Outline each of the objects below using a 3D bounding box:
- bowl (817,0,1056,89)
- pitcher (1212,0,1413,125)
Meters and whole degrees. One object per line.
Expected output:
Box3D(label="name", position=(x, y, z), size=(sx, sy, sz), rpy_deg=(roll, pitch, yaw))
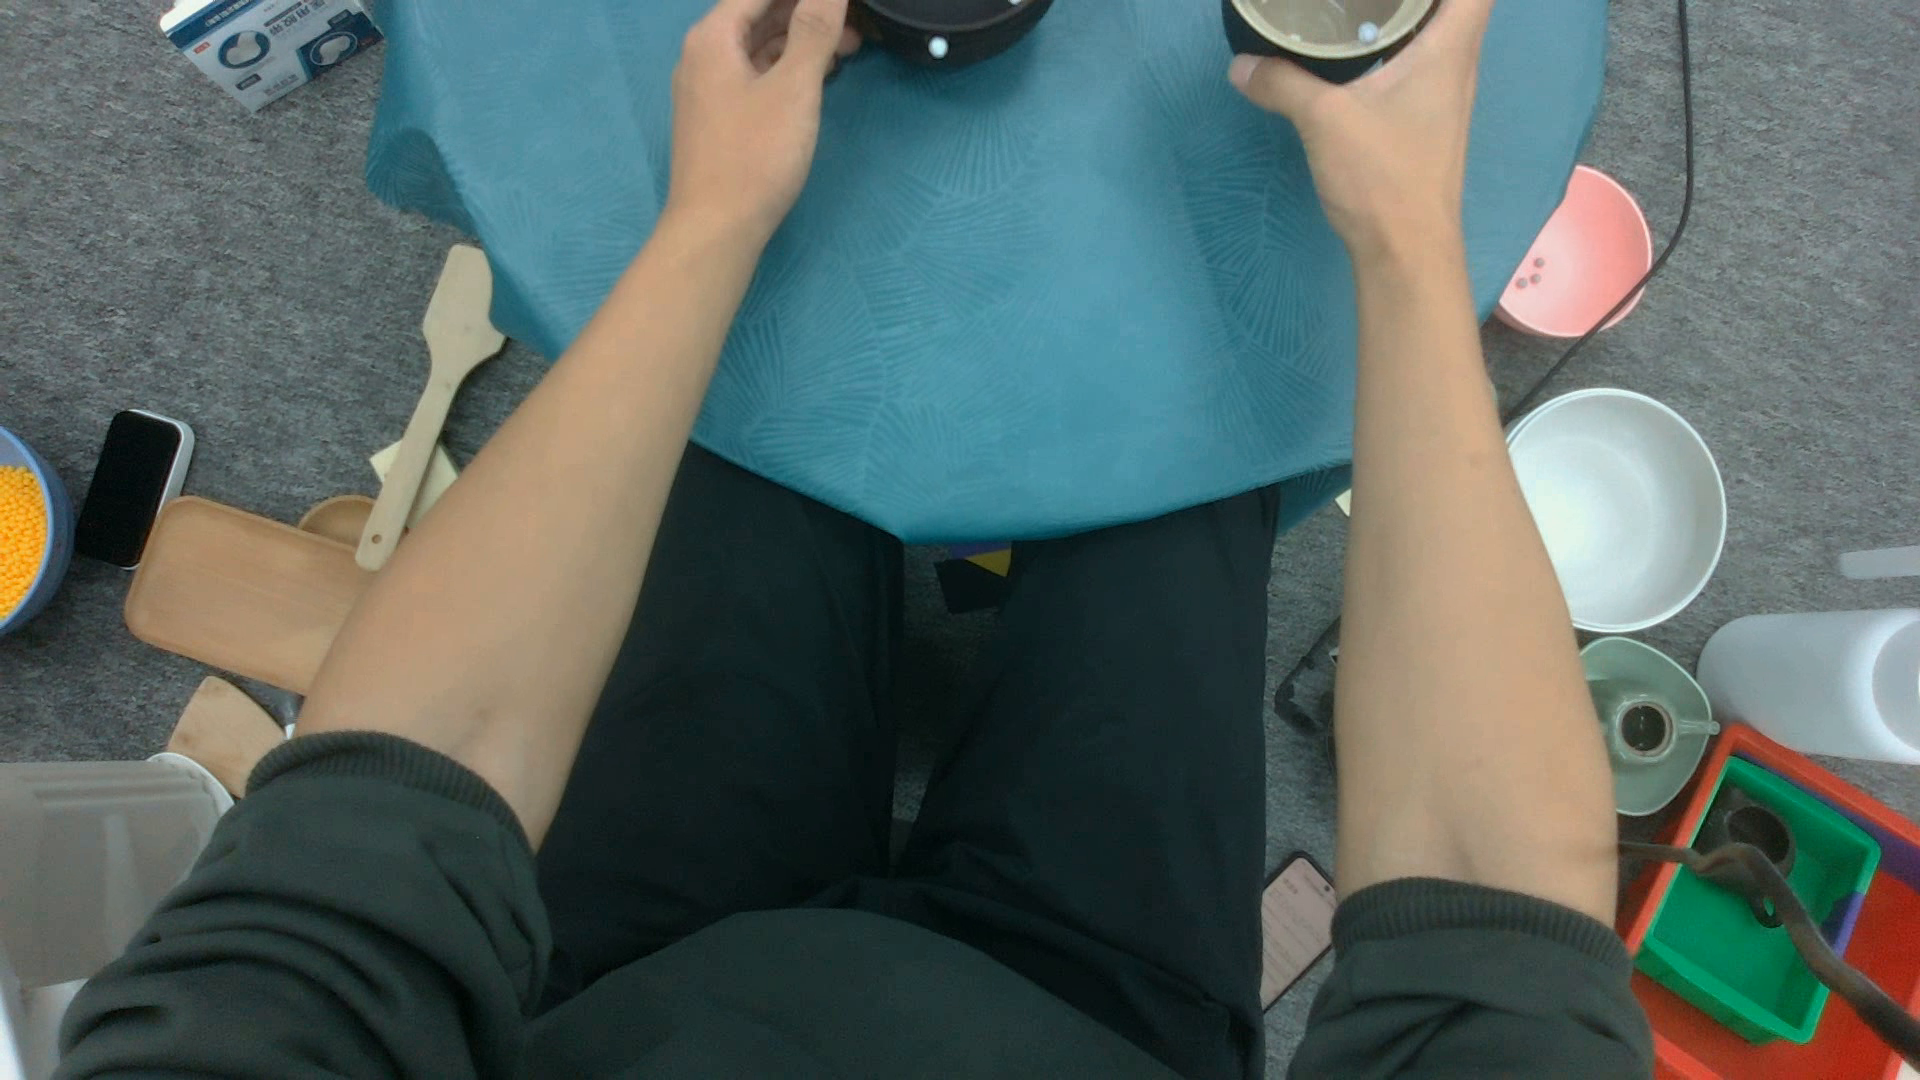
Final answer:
Box3D(label="bowl", position=(-0.012, -0.269, 0.653), size=(0.118, 0.070, 0.118), rpy_deg=(0, 83, -4))
Box3D(label="pitcher", position=(0.151, -0.234, 0.632), size=(0.096, 0.071, 0.084), rpy_deg=(31, 83, 5))
